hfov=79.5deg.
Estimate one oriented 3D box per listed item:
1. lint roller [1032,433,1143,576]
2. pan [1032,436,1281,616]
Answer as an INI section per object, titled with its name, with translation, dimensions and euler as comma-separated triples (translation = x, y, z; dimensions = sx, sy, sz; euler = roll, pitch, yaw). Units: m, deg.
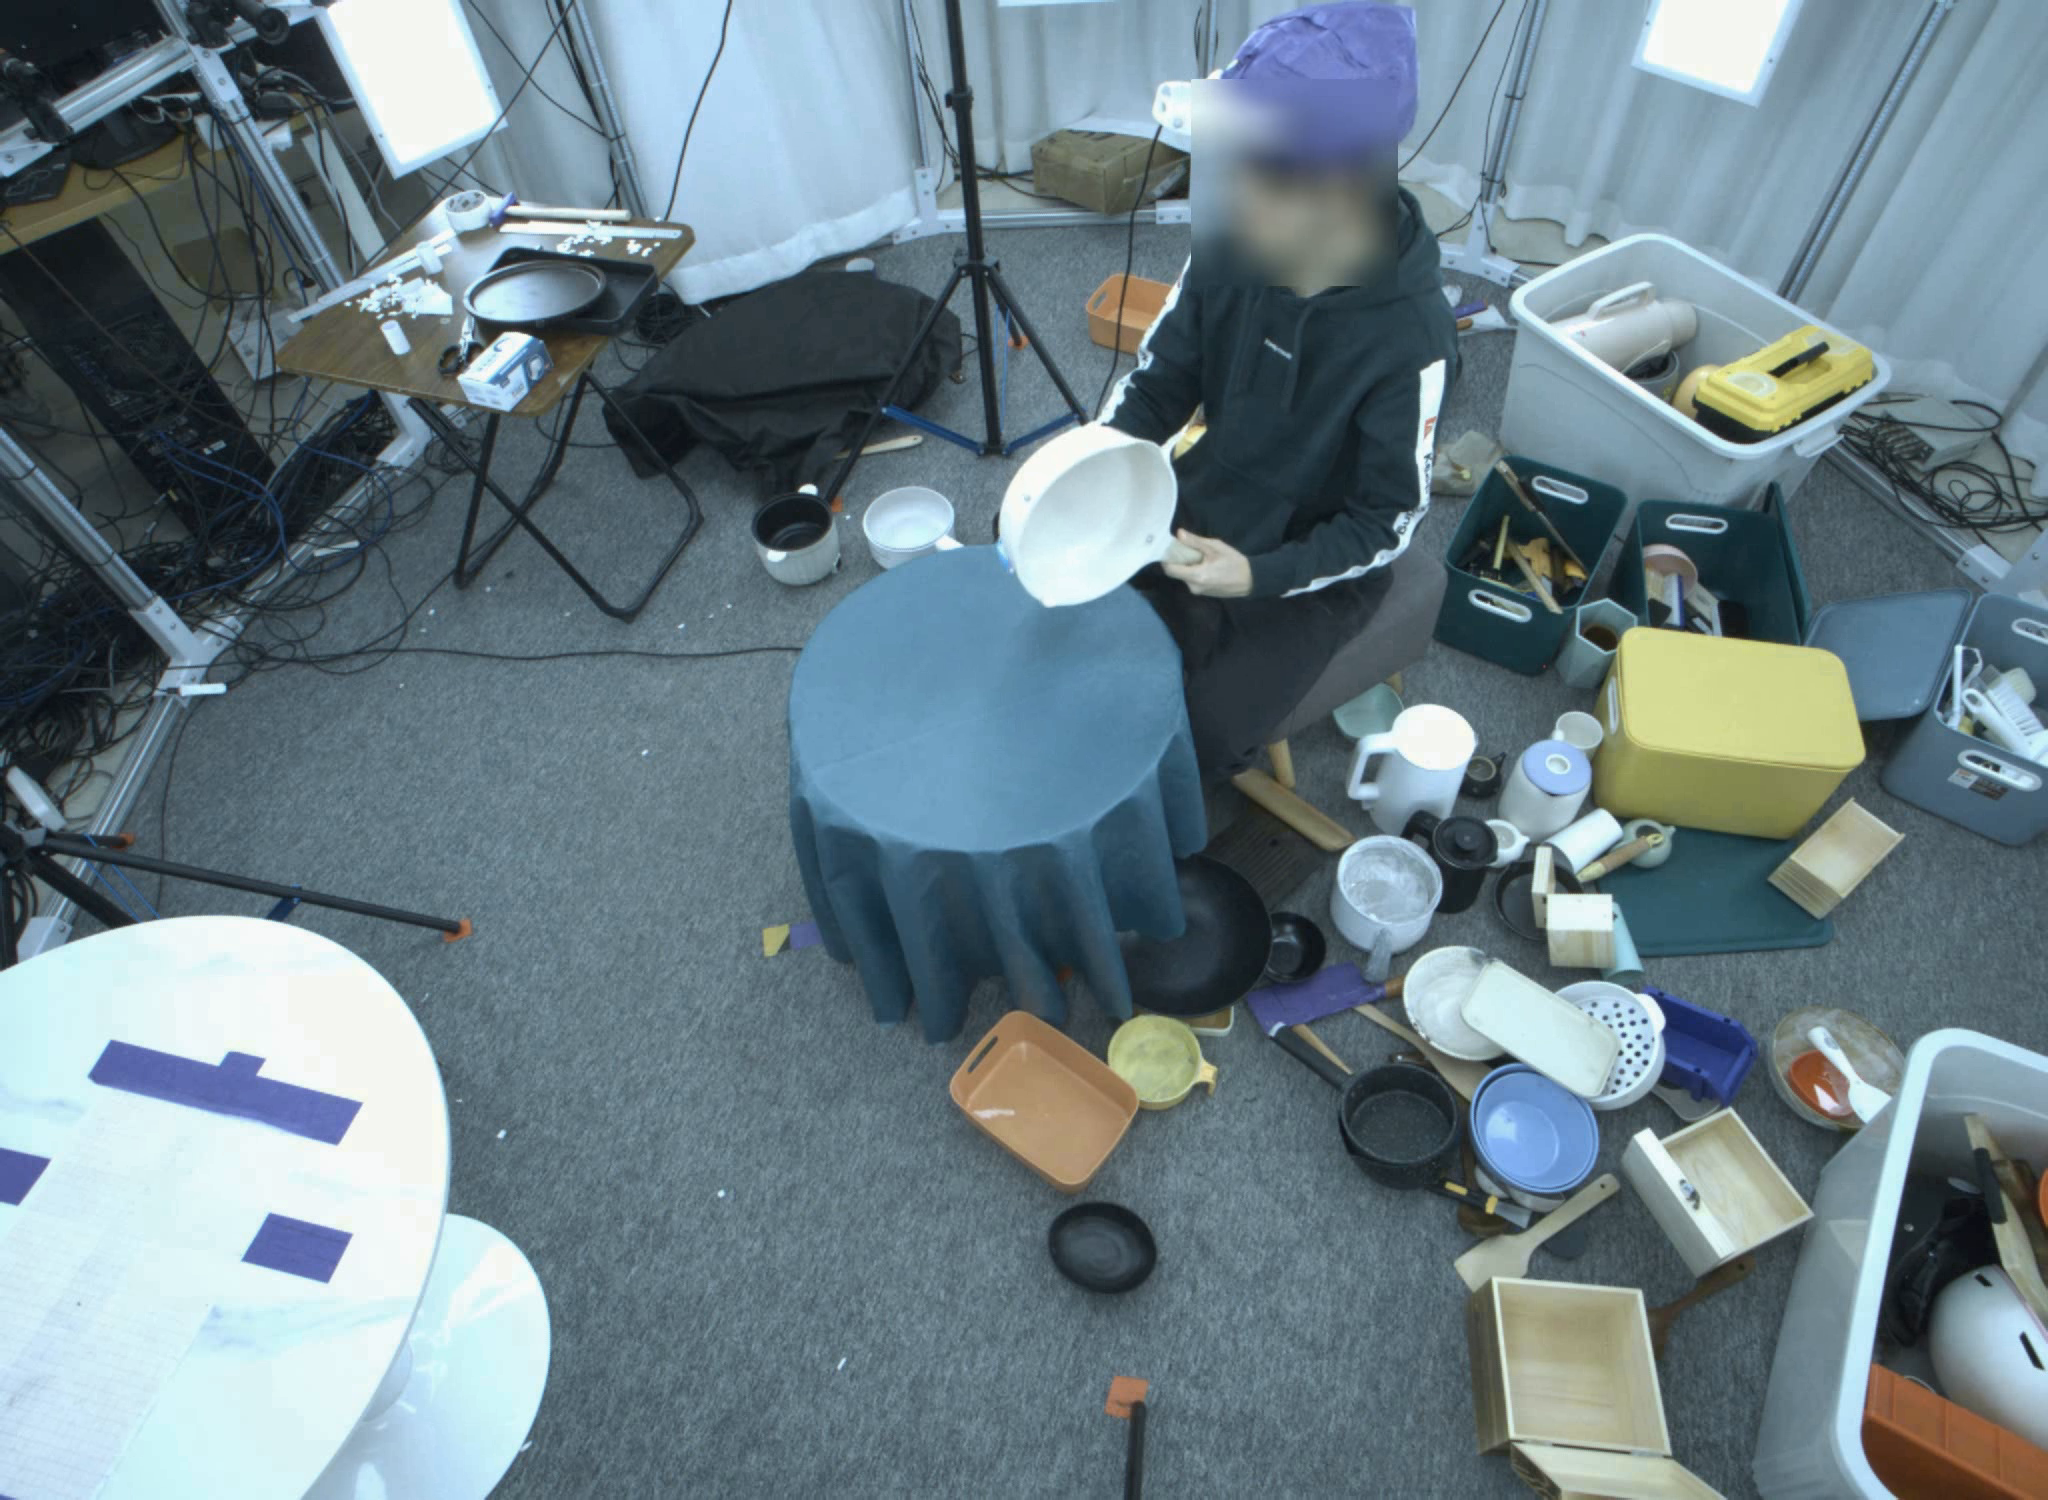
[lint roller]
translation = 0.094, -0.358, 1.736
dimensions = 0.068, 0.228, 0.179
euler = 32, 23, -6
[pan]
translation = 0.192, -0.293, 1.687
dimensions = 0.445, 0.262, 0.100
euler = 7, 36, -44
